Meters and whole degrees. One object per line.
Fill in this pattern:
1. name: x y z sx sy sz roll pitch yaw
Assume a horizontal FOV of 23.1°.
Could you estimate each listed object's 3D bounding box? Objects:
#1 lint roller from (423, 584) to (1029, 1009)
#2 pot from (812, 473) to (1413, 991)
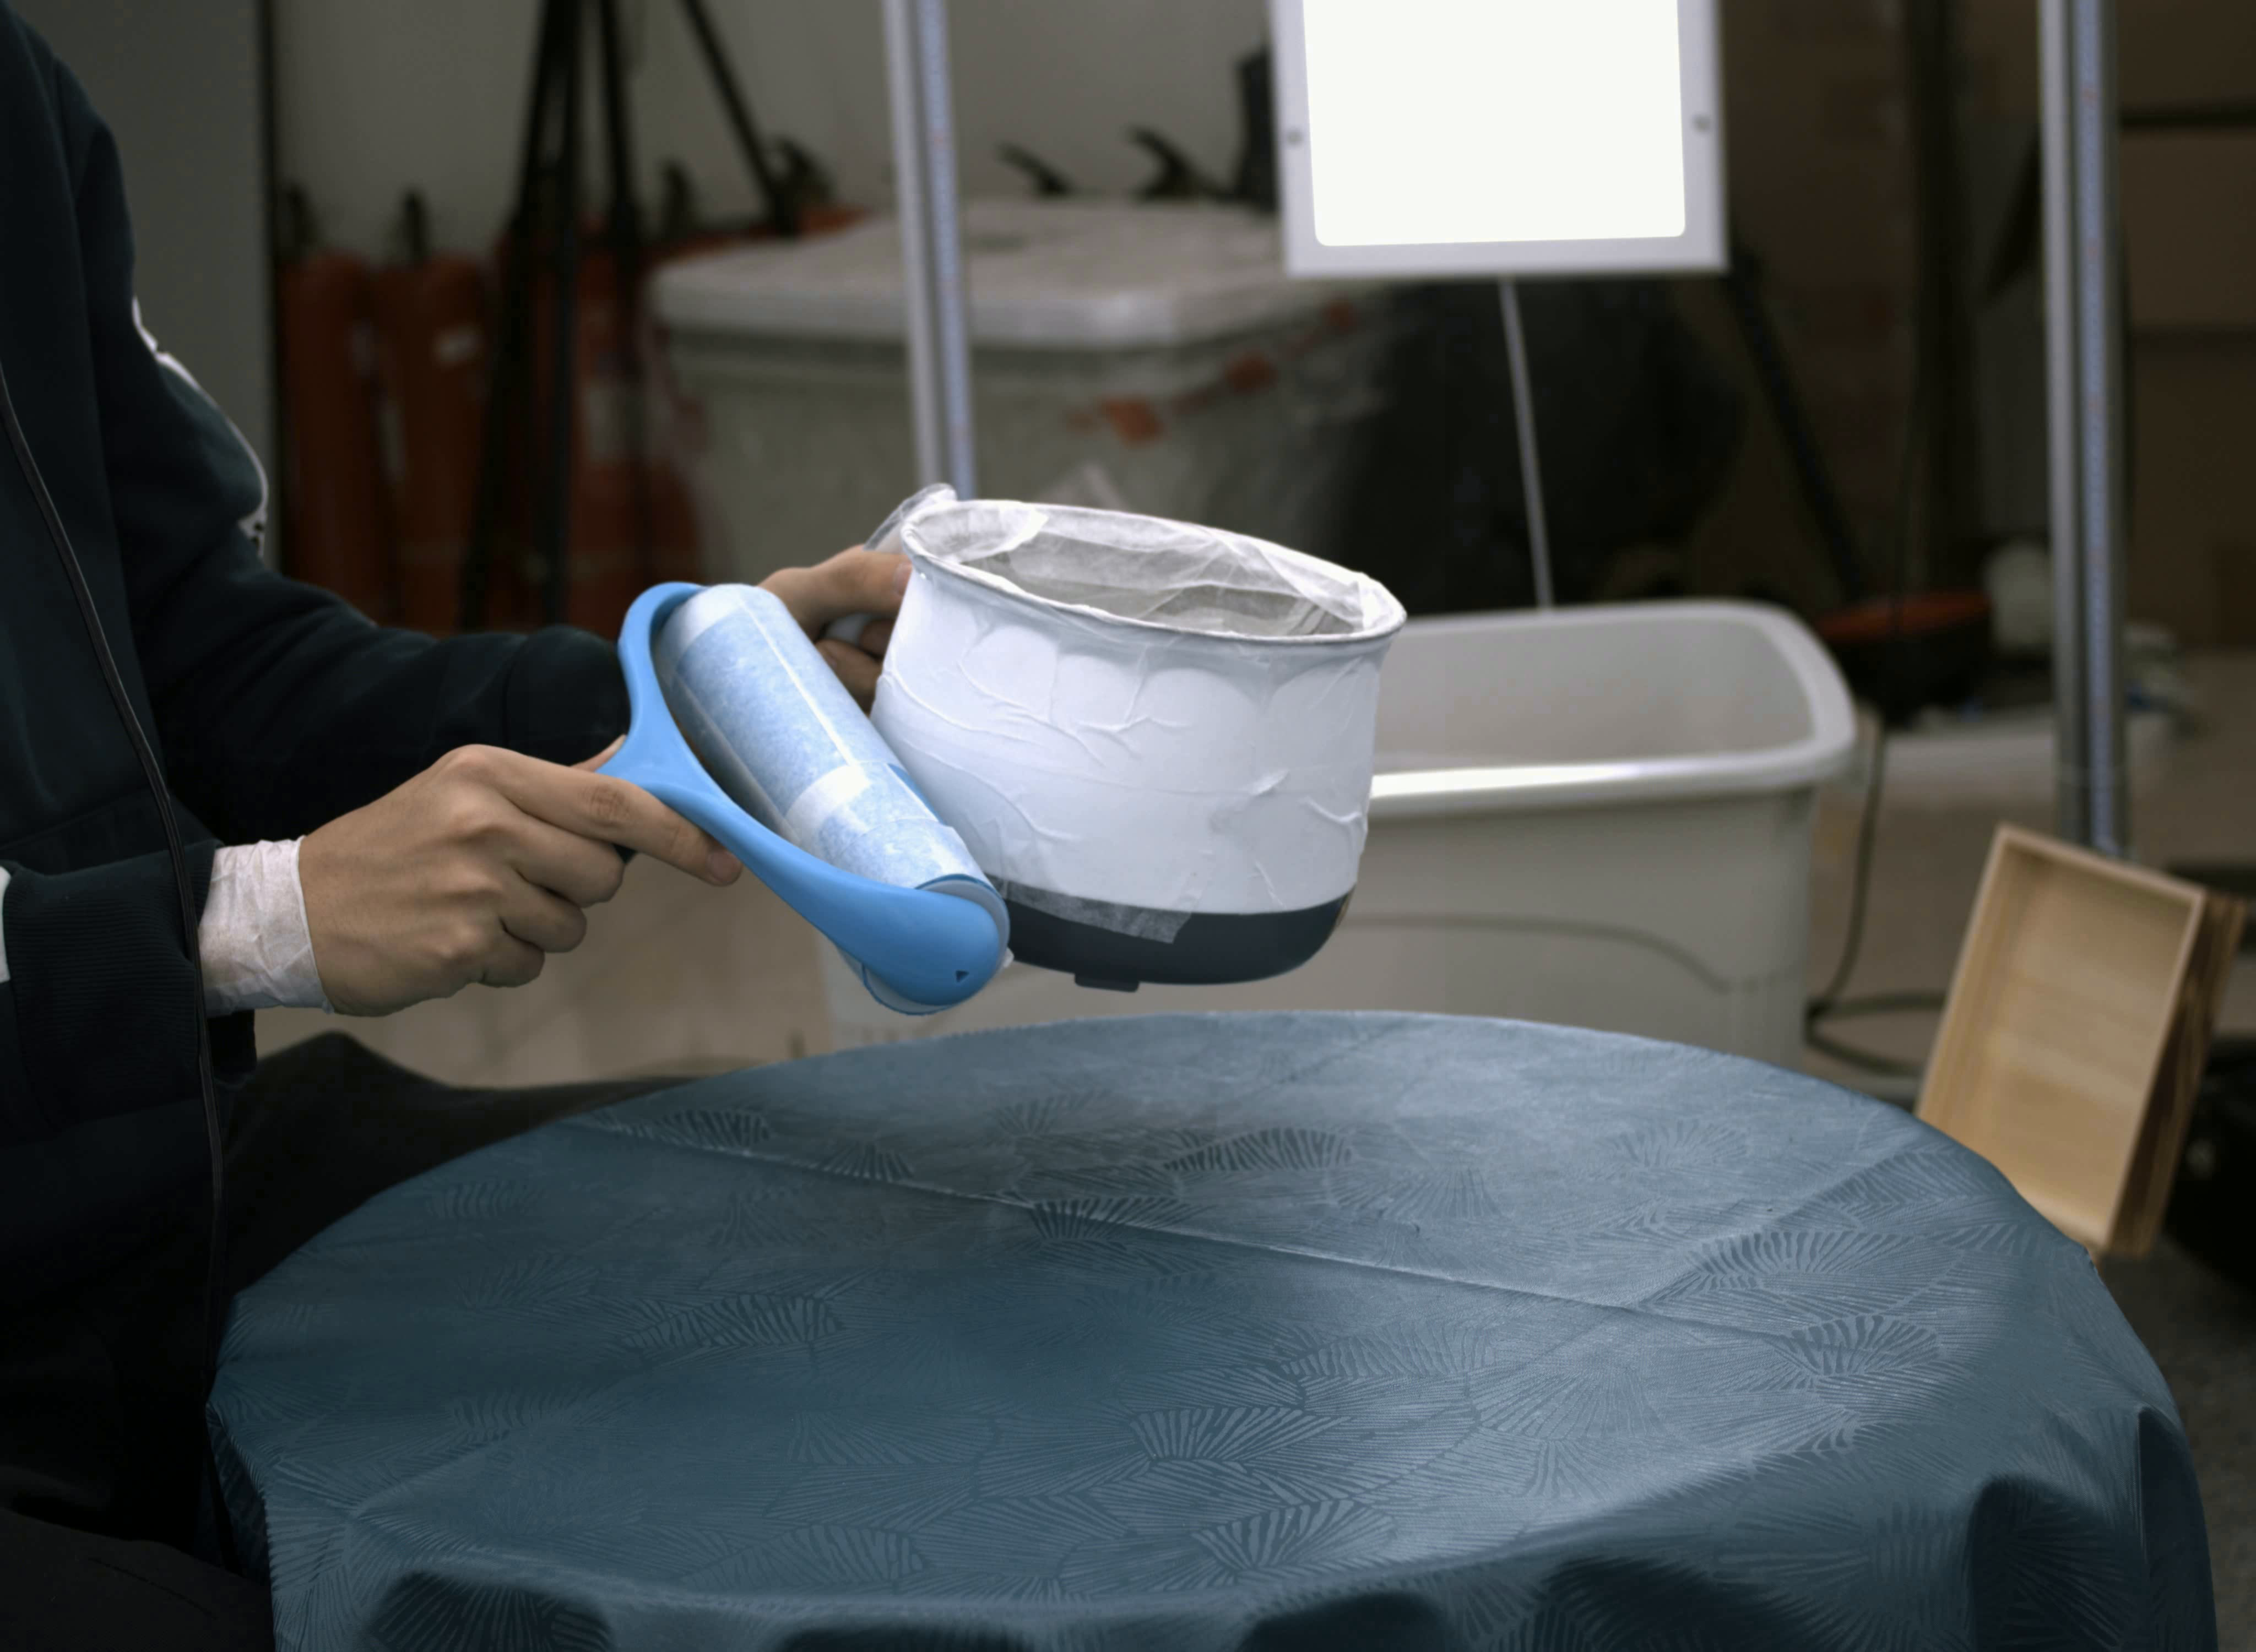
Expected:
1. lint roller: -0.151 0.005 1.831 0.177 0.068 0.232 -20 40 -20
2. pot: -0.022 -0.037 1.915 0.238 0.137 0.174 22 19 36
